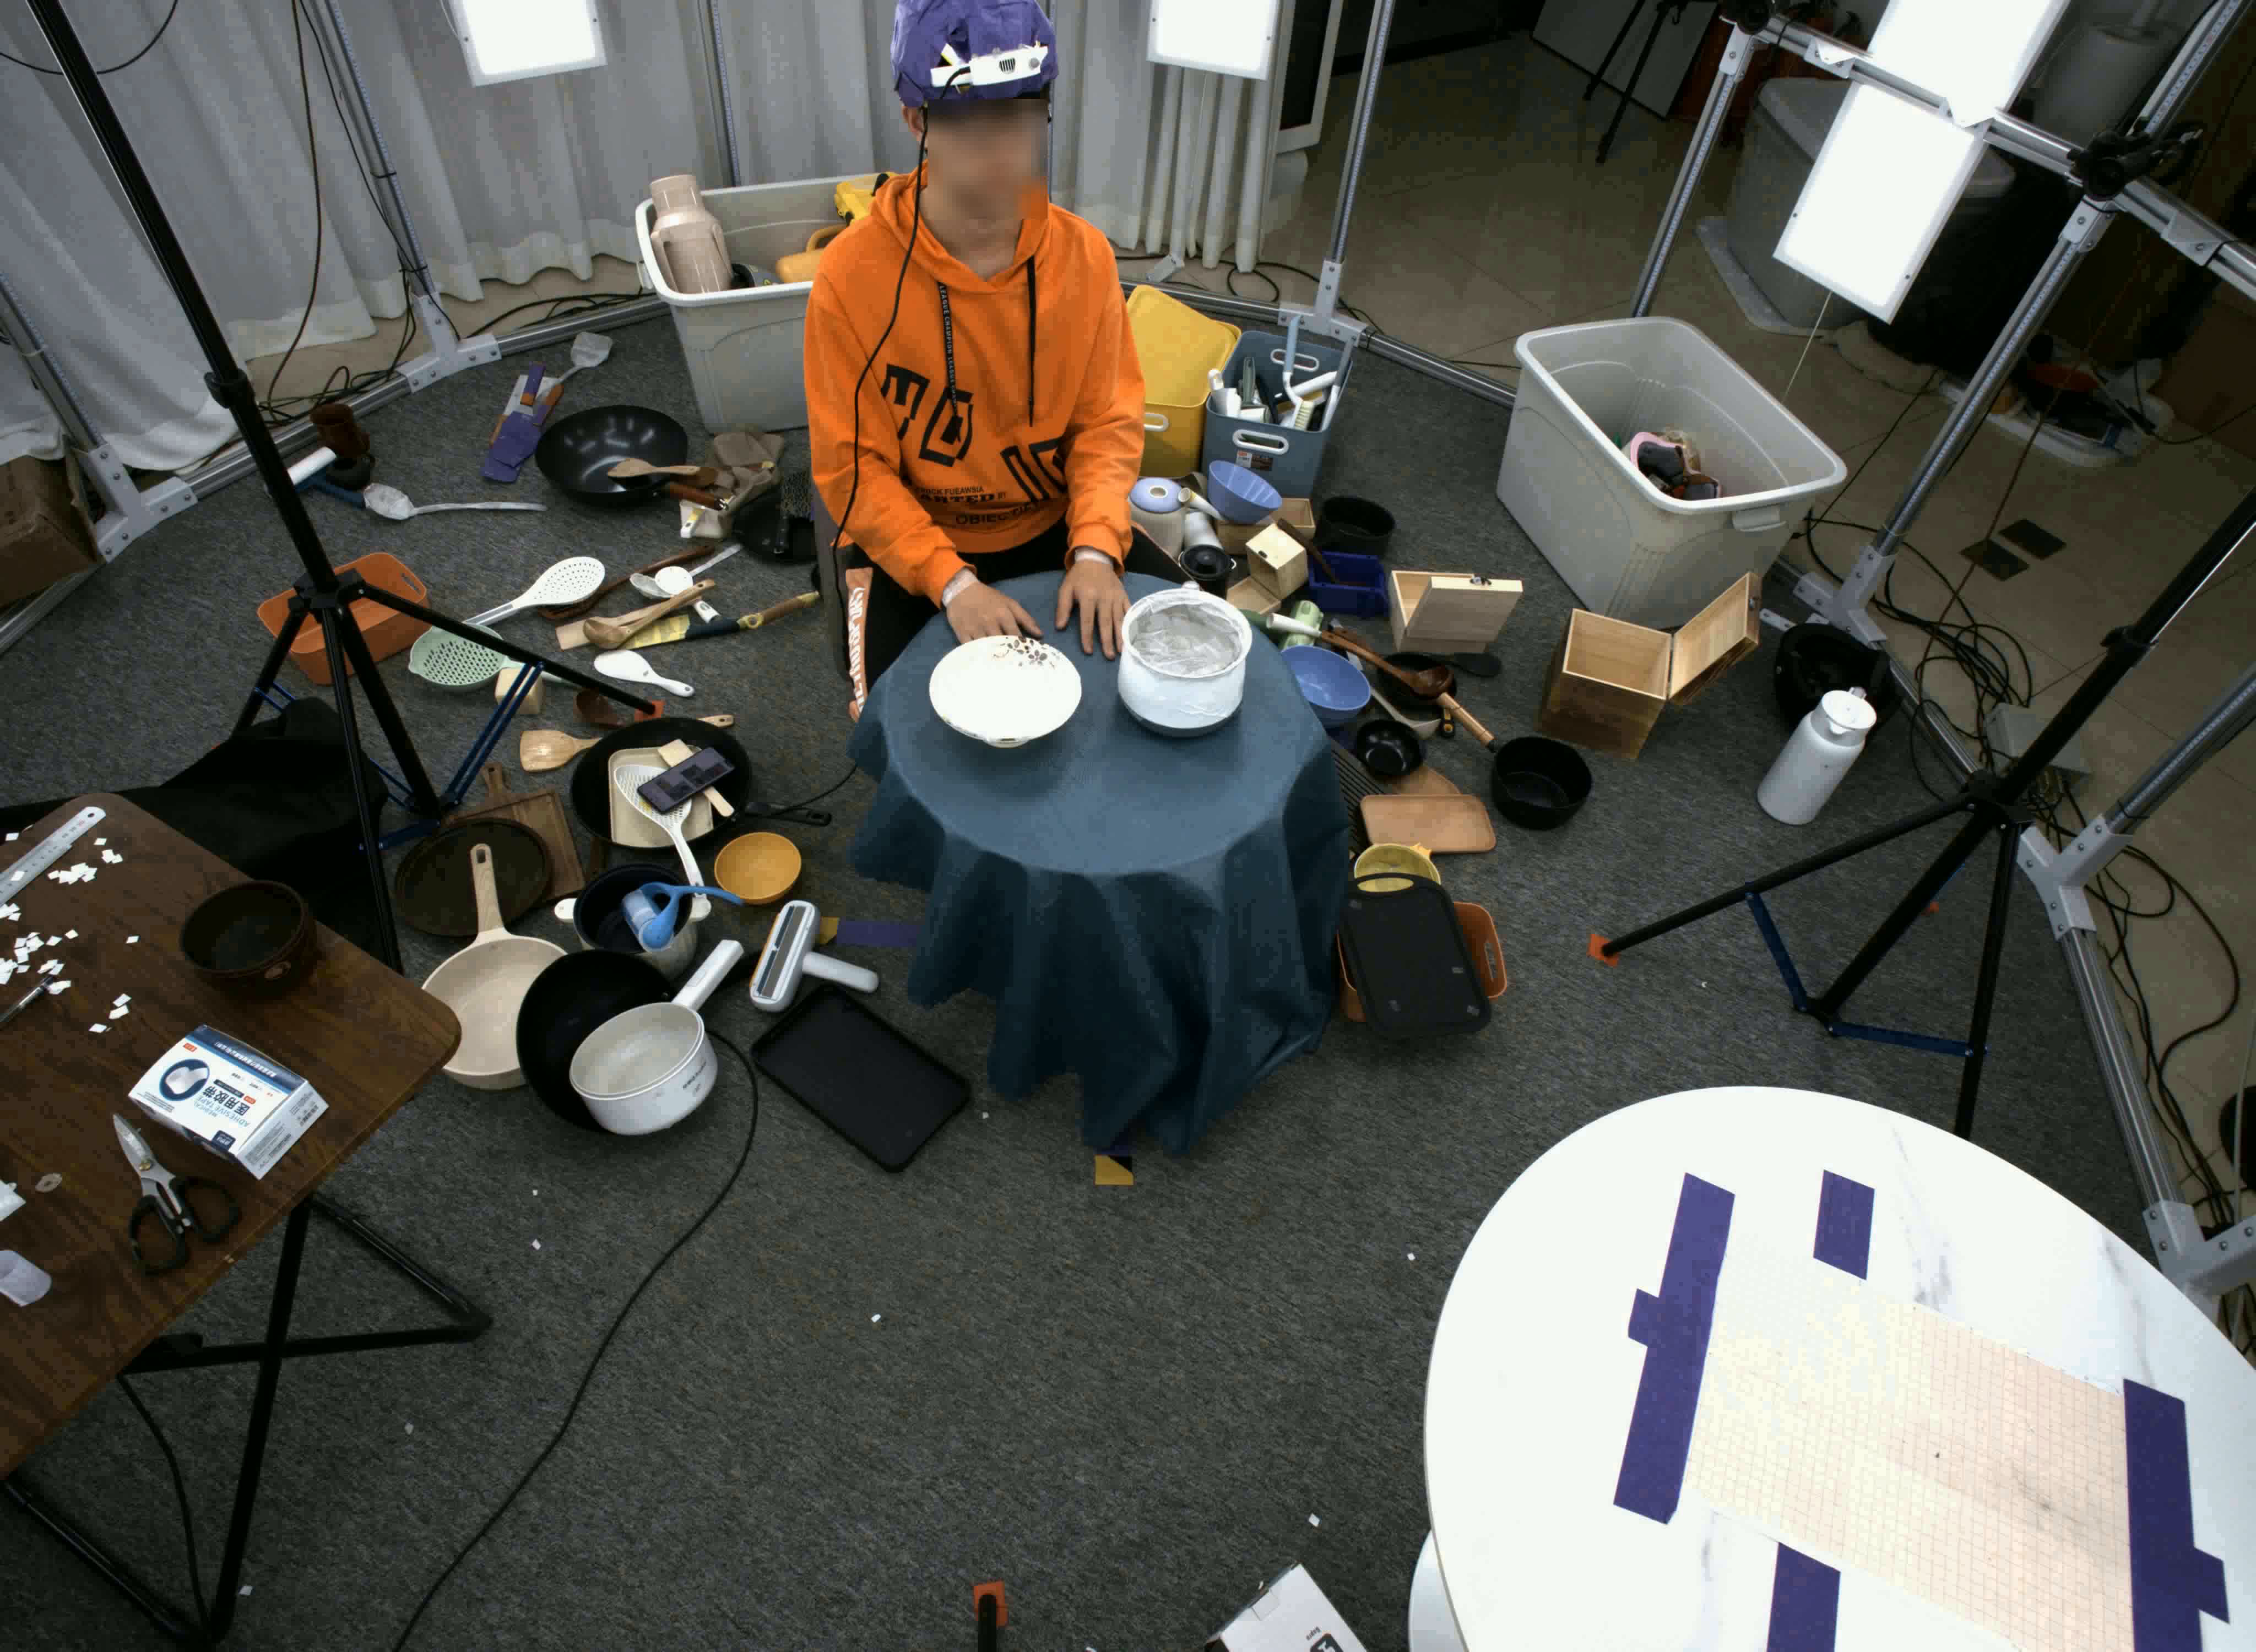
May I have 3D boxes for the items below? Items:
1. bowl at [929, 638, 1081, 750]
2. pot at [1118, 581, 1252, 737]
[{"bbox_3d":[-0.166,-0.162,1.750,0.204,0.076,0.209,1,47,-2],"label":"bowl"},{"bbox_3d":[0.077,-0.243,1.796,0.178,0.133,0.239,5,49,0],"label":"pot"}]
